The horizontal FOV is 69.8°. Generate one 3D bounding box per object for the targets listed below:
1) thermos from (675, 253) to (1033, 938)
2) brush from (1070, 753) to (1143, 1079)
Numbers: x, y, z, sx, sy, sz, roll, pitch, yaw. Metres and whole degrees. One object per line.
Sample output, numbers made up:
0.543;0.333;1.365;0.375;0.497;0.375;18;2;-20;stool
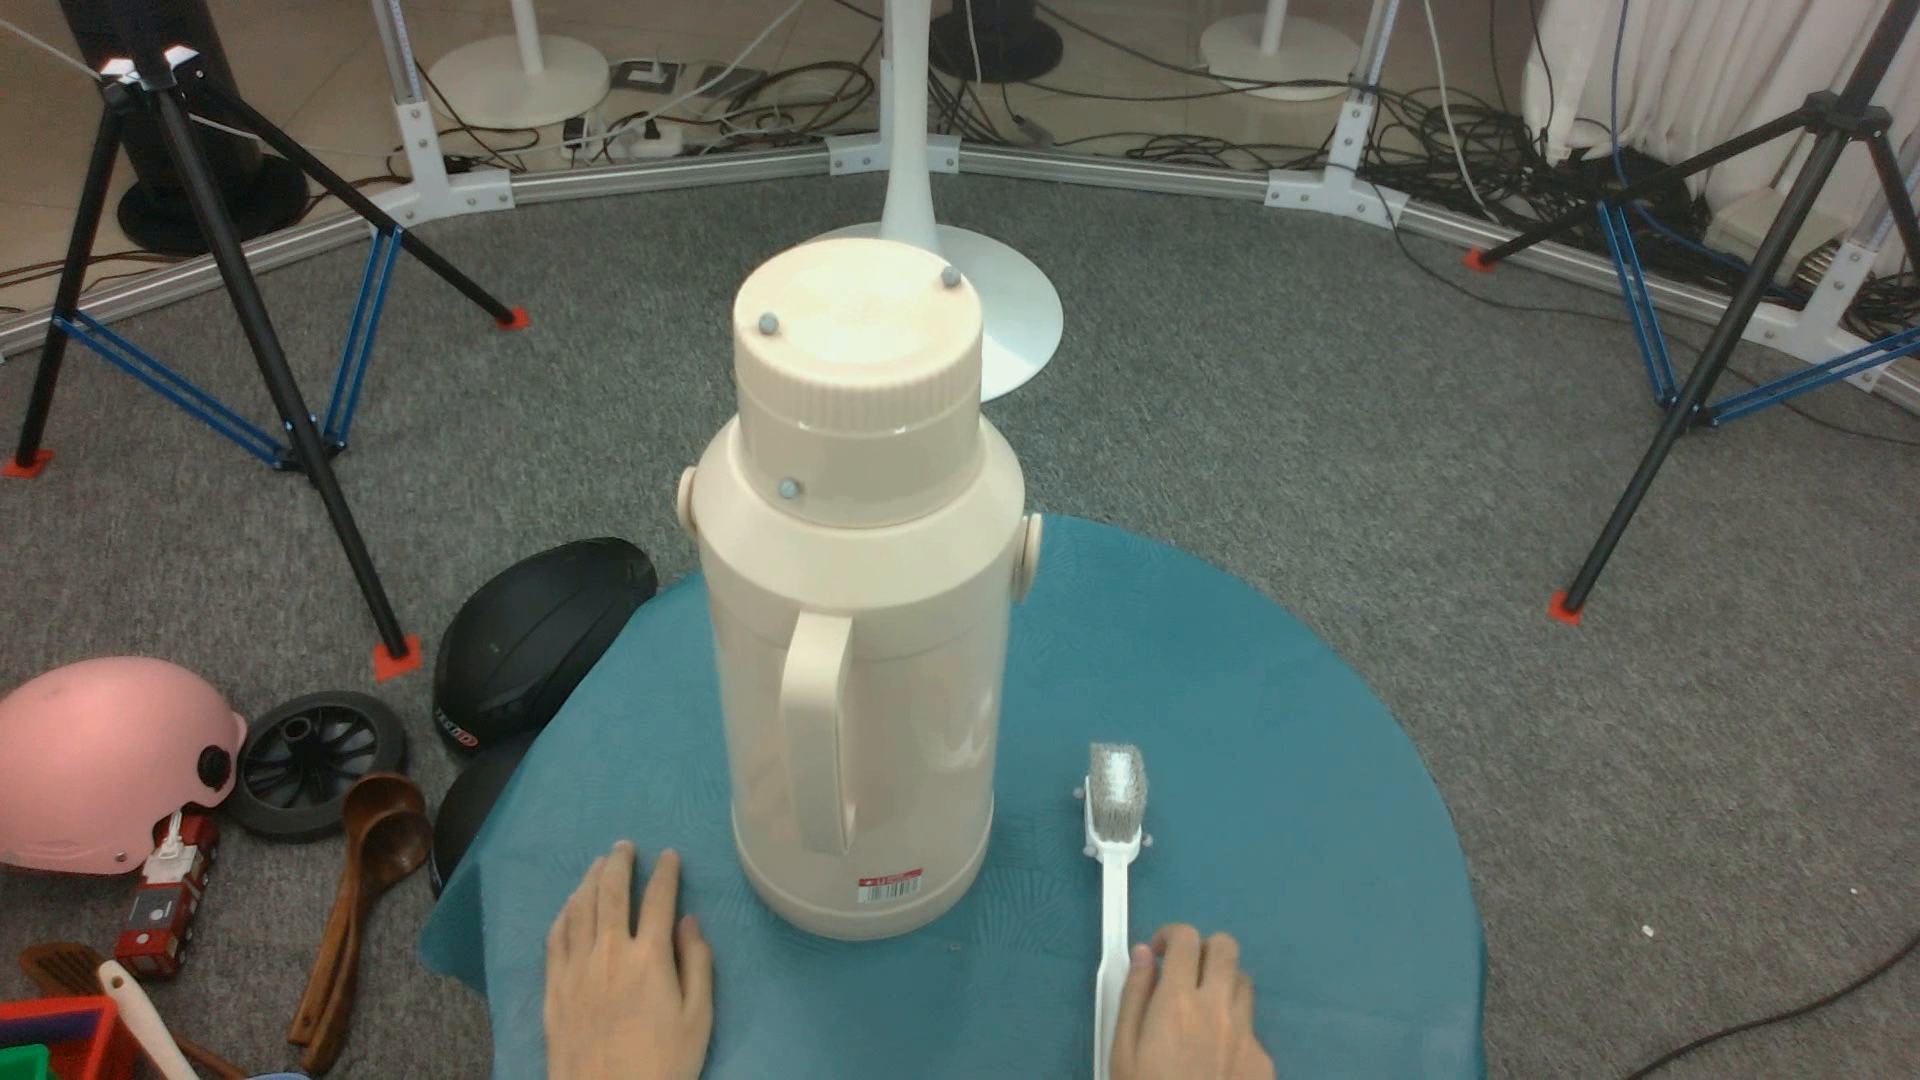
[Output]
-0.060;0.055;0.722;0.175;0.404;0.208;8;46;2;thermos
0.084;0.229;0.804;0.034;0.050;0.245;11;45;-2;brush
